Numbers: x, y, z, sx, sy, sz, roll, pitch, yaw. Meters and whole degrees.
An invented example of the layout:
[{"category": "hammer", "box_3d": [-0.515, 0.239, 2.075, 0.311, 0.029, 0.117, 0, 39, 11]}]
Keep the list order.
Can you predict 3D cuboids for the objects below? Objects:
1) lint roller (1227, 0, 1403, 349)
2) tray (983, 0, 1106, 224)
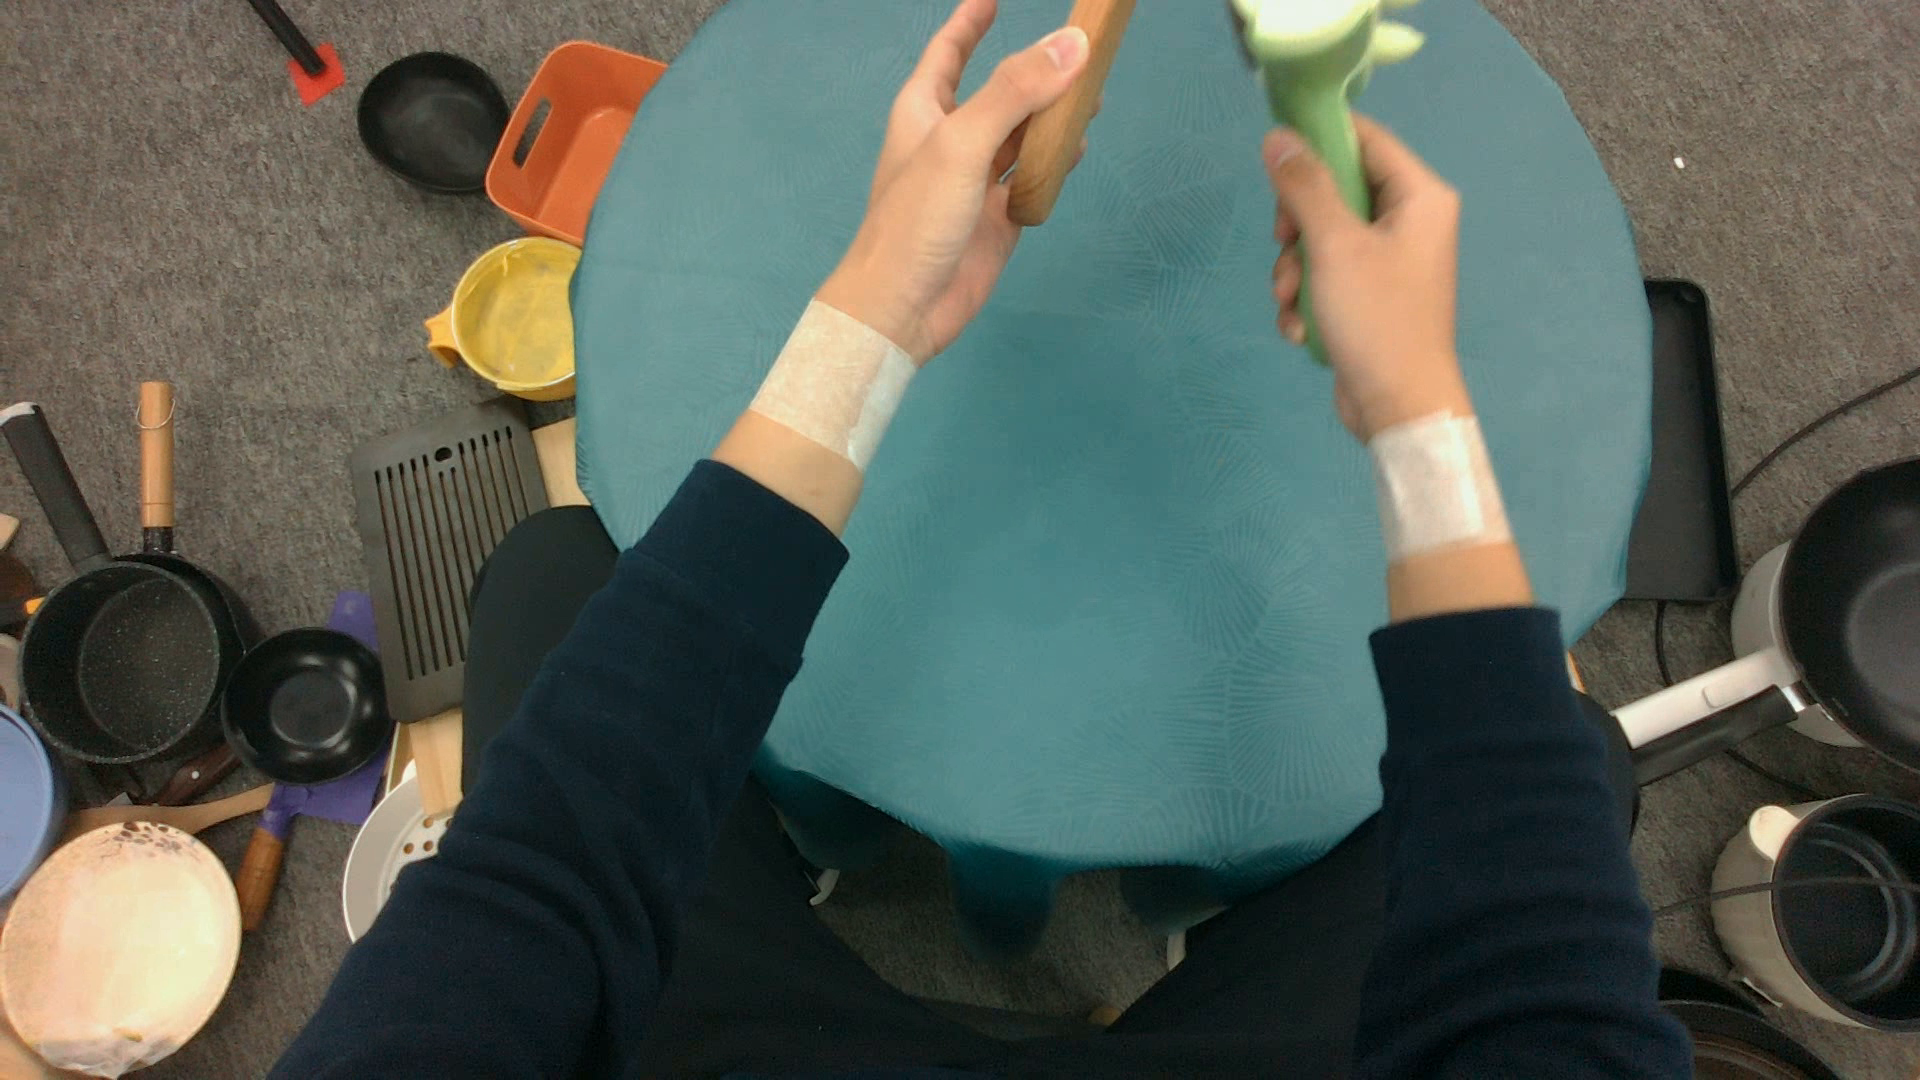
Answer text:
[{"category": "lint roller", "box_3d": [0.161, -0.178, 0.575, 0.082, 0.199, 0.183, -18, 94, 17]}, {"category": "tray", "box_3d": [0.057, -0.240, 0.564, 0.020, 0.102, 0.231, 20, 98, 3]}]
